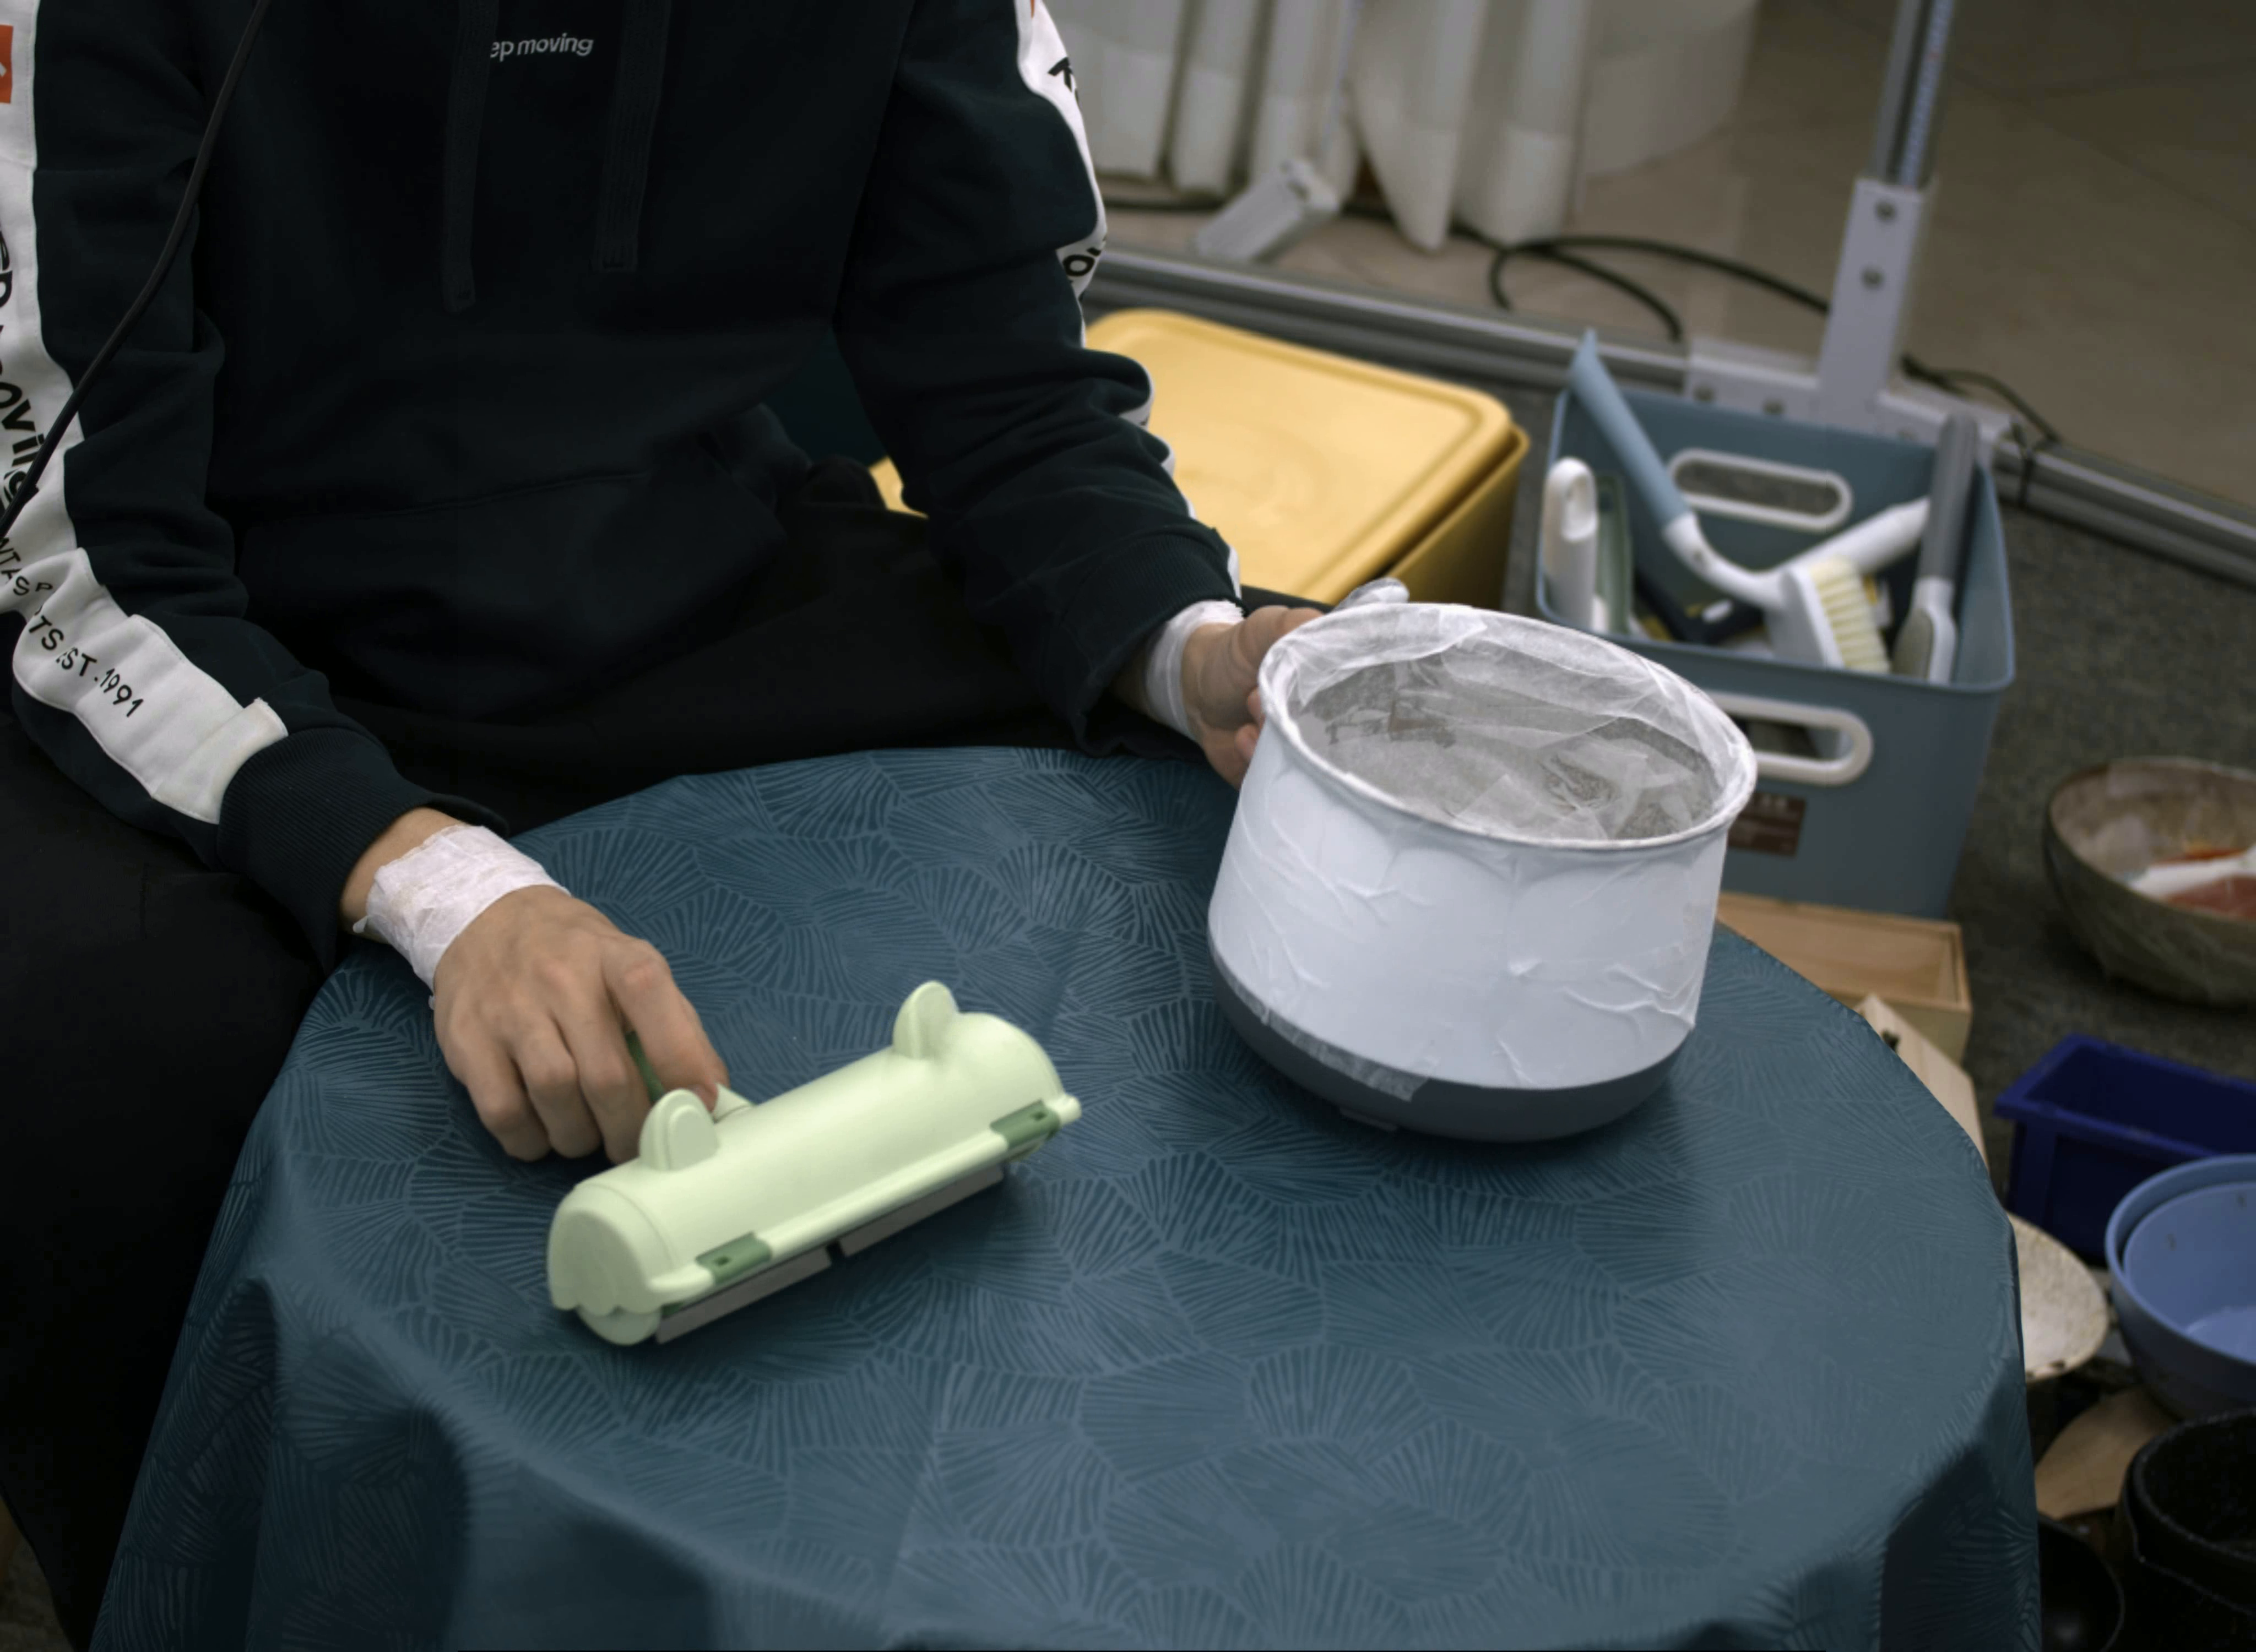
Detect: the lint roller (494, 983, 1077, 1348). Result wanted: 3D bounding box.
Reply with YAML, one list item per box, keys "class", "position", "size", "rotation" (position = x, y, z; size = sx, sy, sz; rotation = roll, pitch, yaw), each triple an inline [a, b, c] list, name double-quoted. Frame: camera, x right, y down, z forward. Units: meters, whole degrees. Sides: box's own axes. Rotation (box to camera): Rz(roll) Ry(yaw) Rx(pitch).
- class: "lint roller"
  position: [-0.144, 0.084, 1.759]
  size: [0.184, 0.082, 0.198]
  rotation: [31, 36, 33]

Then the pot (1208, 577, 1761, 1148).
- class: "pot"
  position: [0.111, 0.006, 1.893]
  size: [0.177, 0.136, 0.236]
  rotation: [-3, 31, -25]
